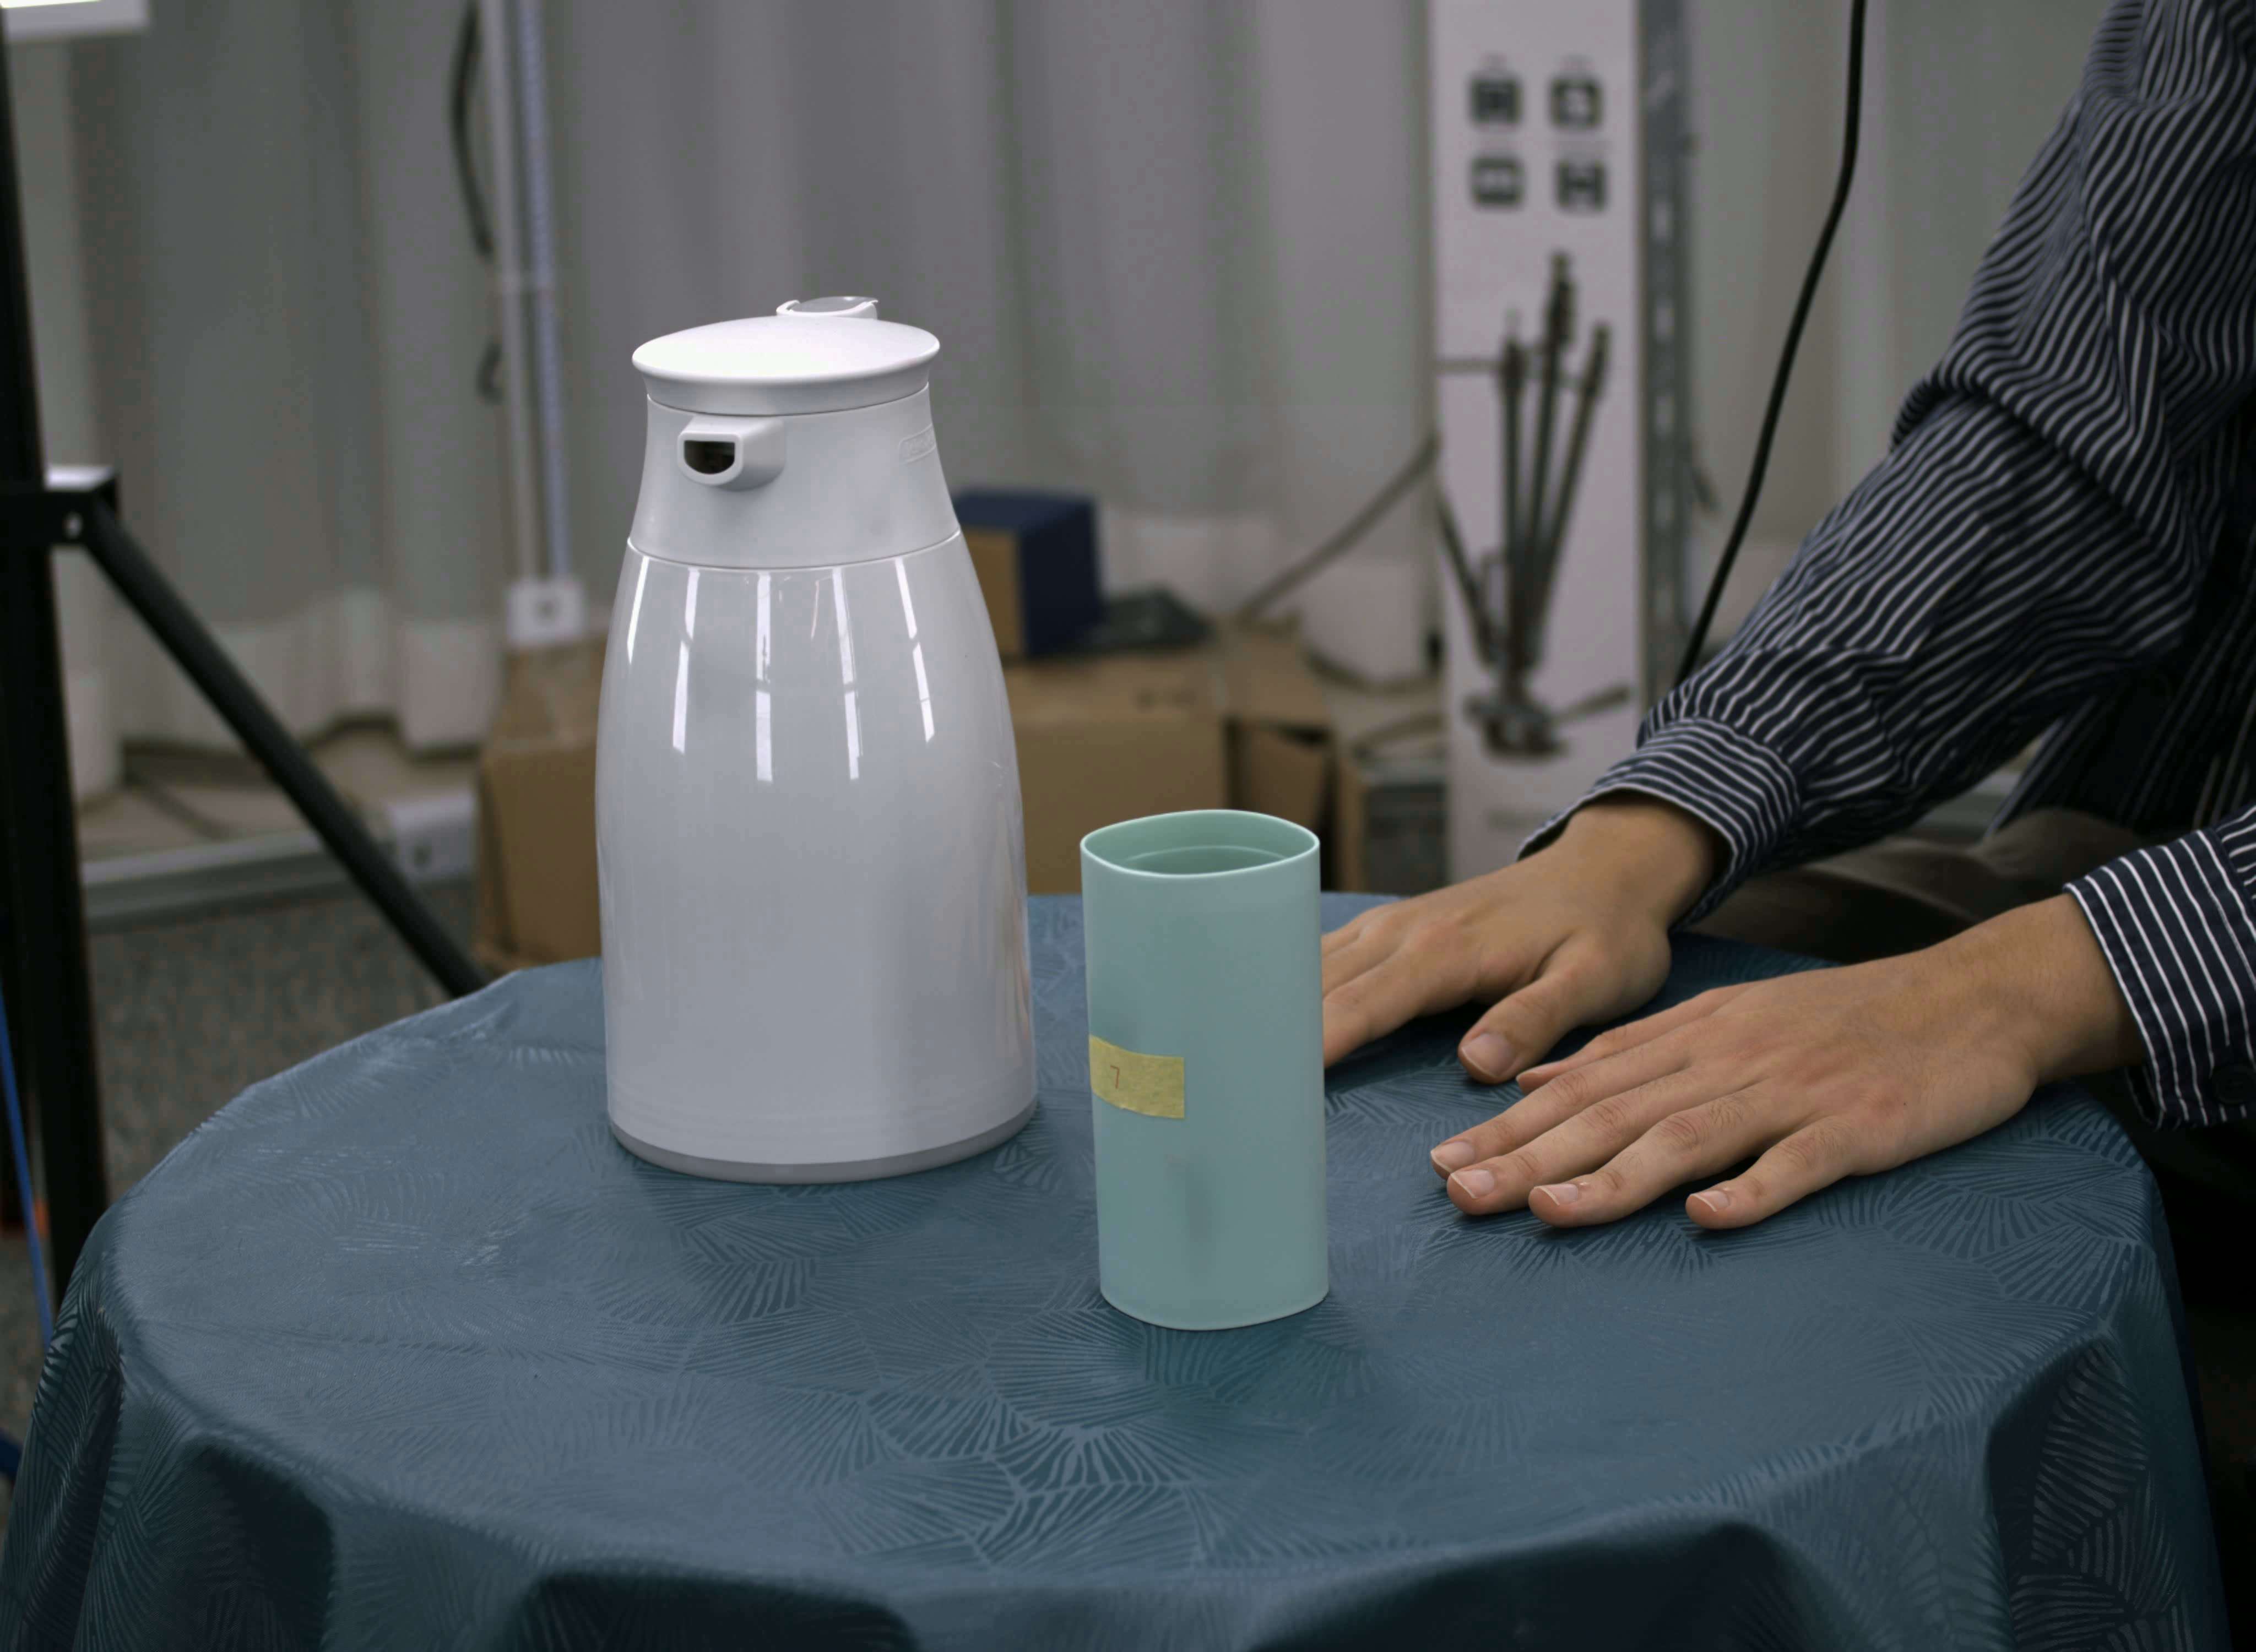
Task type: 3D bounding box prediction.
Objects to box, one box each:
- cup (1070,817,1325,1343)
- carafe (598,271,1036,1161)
[{"bbox_3d":[0.021,0.069,1.466,0.066,0.132,0.067,-4,16,0],"label":"cup"},{"bbox_3d":[-0.093,-0.042,1.633,0.133,0.248,0.166,2,15,16],"label":"carafe"}]
